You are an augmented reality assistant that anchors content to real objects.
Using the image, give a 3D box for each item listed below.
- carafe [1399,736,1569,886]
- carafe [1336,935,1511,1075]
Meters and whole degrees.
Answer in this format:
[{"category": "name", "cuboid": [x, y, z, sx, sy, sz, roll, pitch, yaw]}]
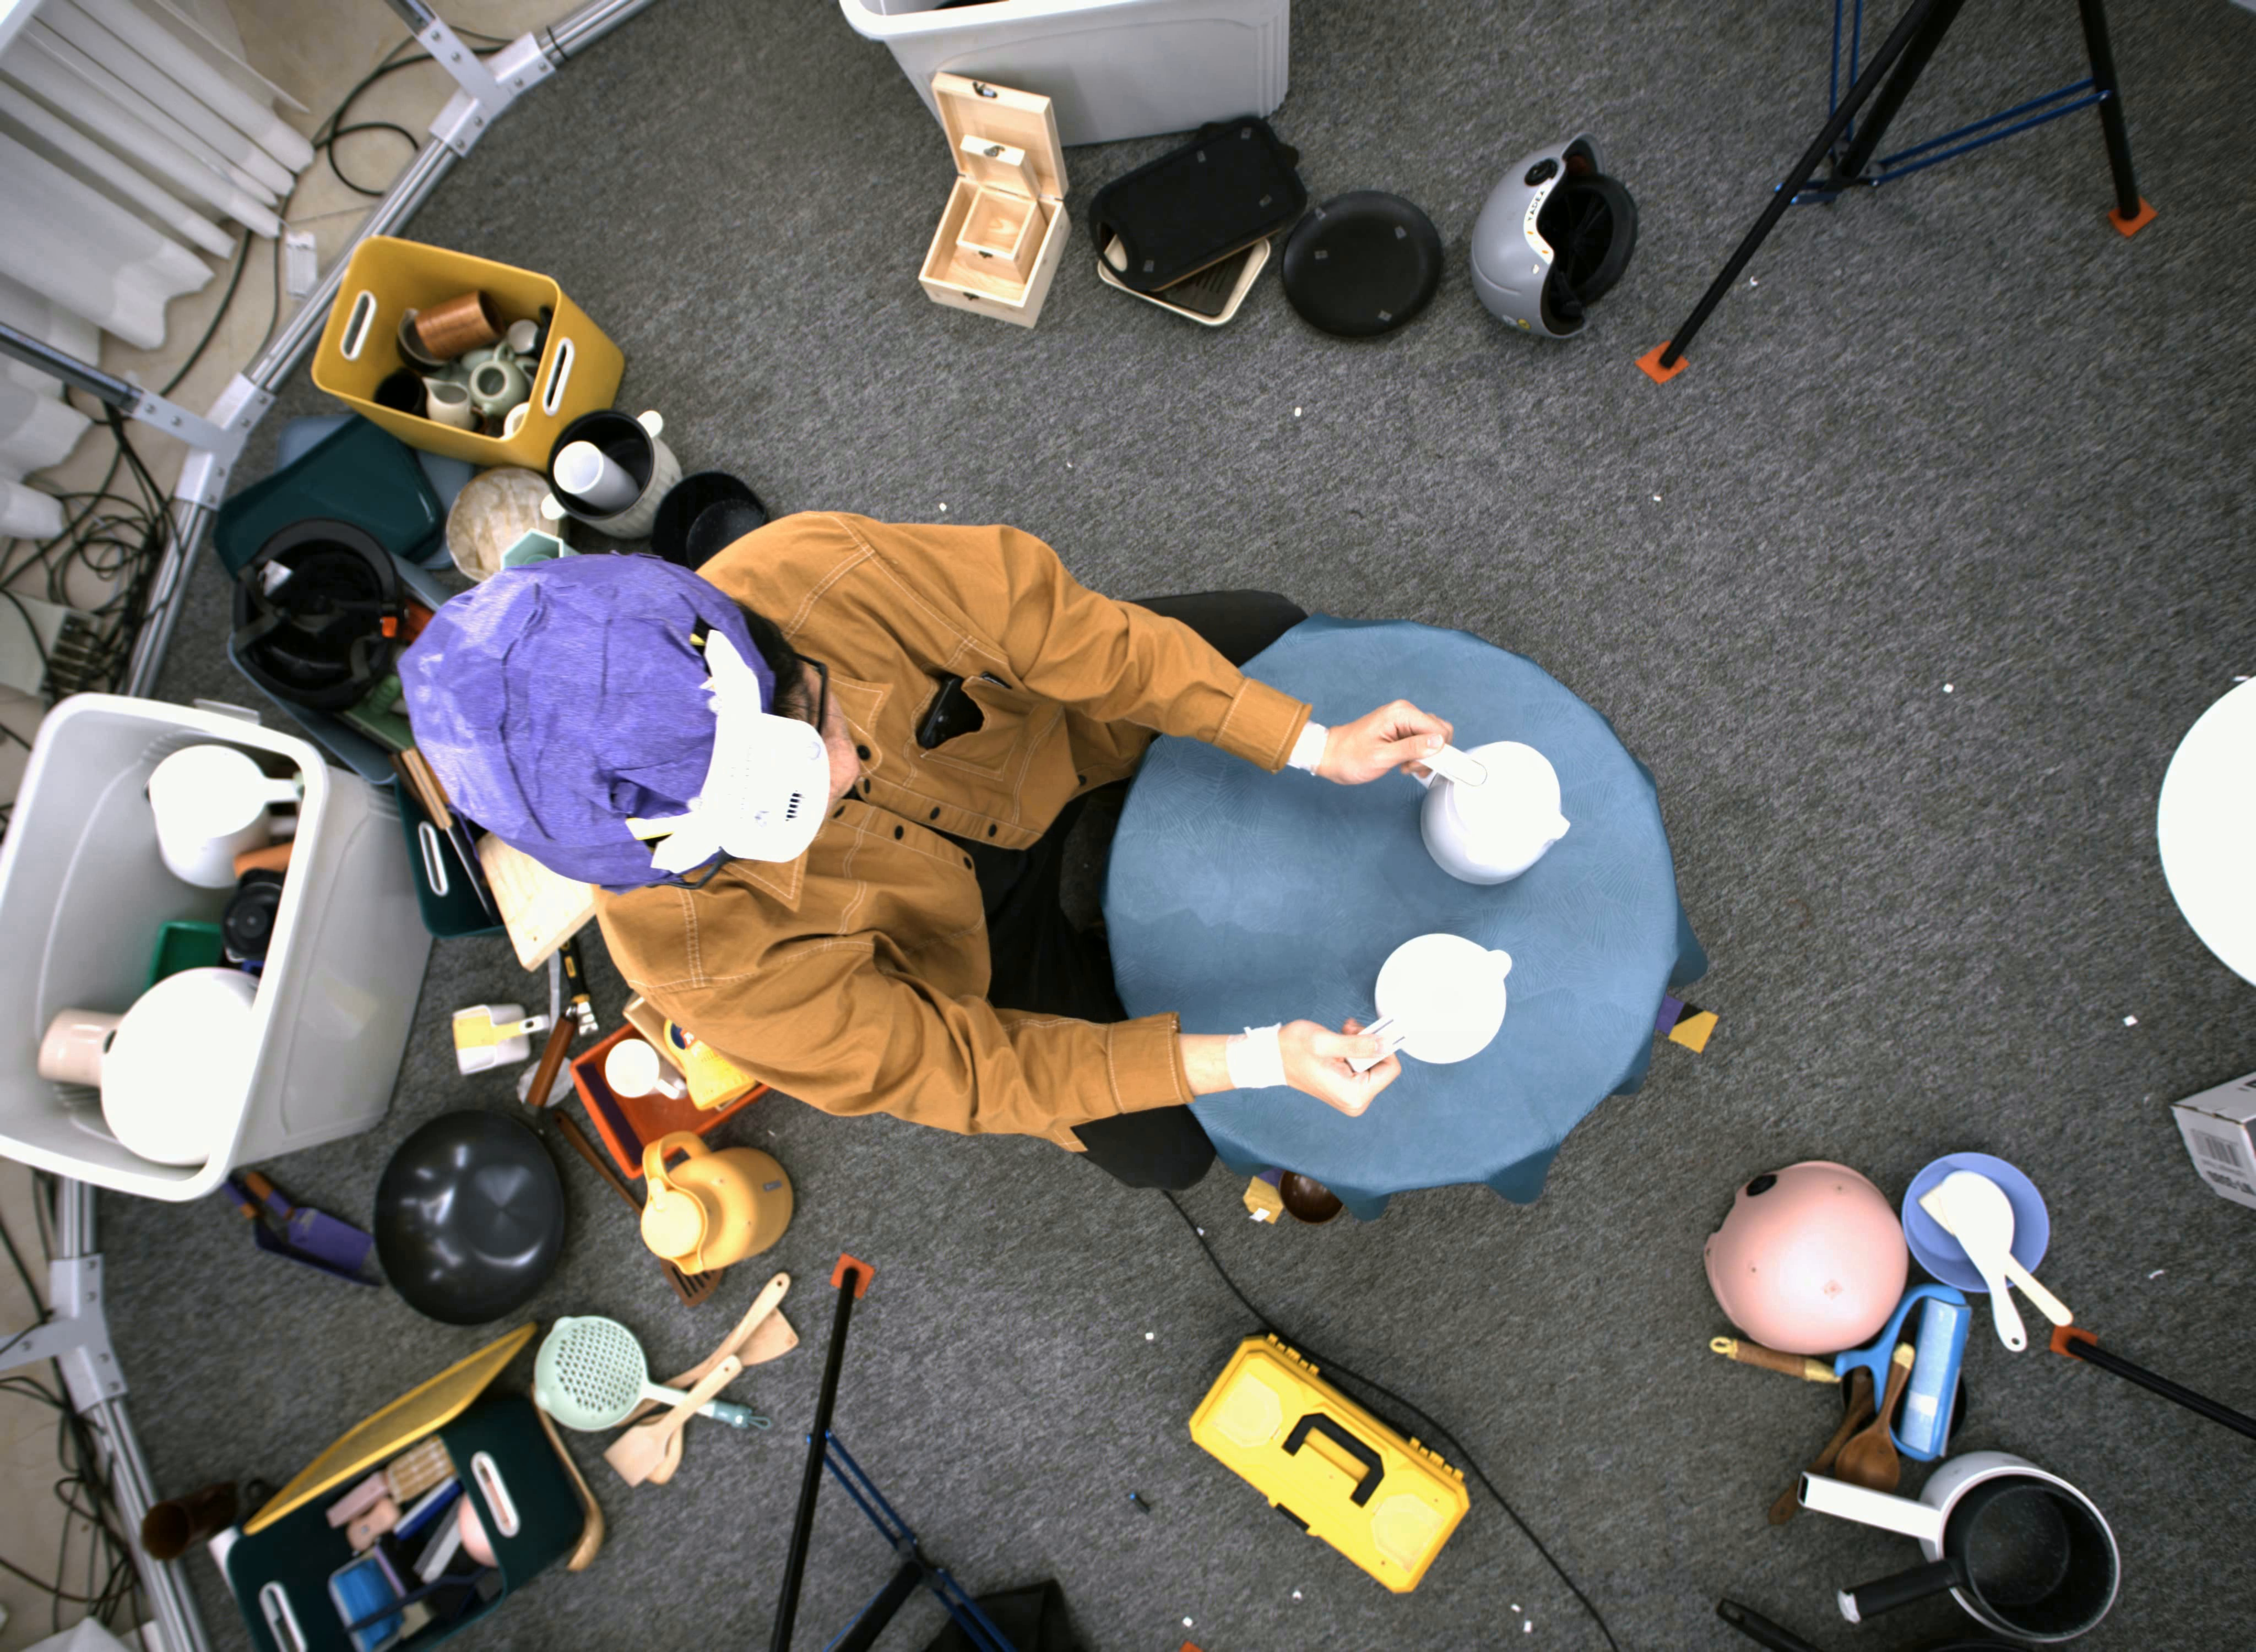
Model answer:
[{"category": "carafe", "cuboid": [0.337, -0.027, 1.327, 0.167, 0.249, 0.133, 33, 91, 12]}, {"category": "carafe", "cuboid": [0.281, 0.173, 1.318, 0.174, 0.268, 0.123, -35, 82, 7]}]
